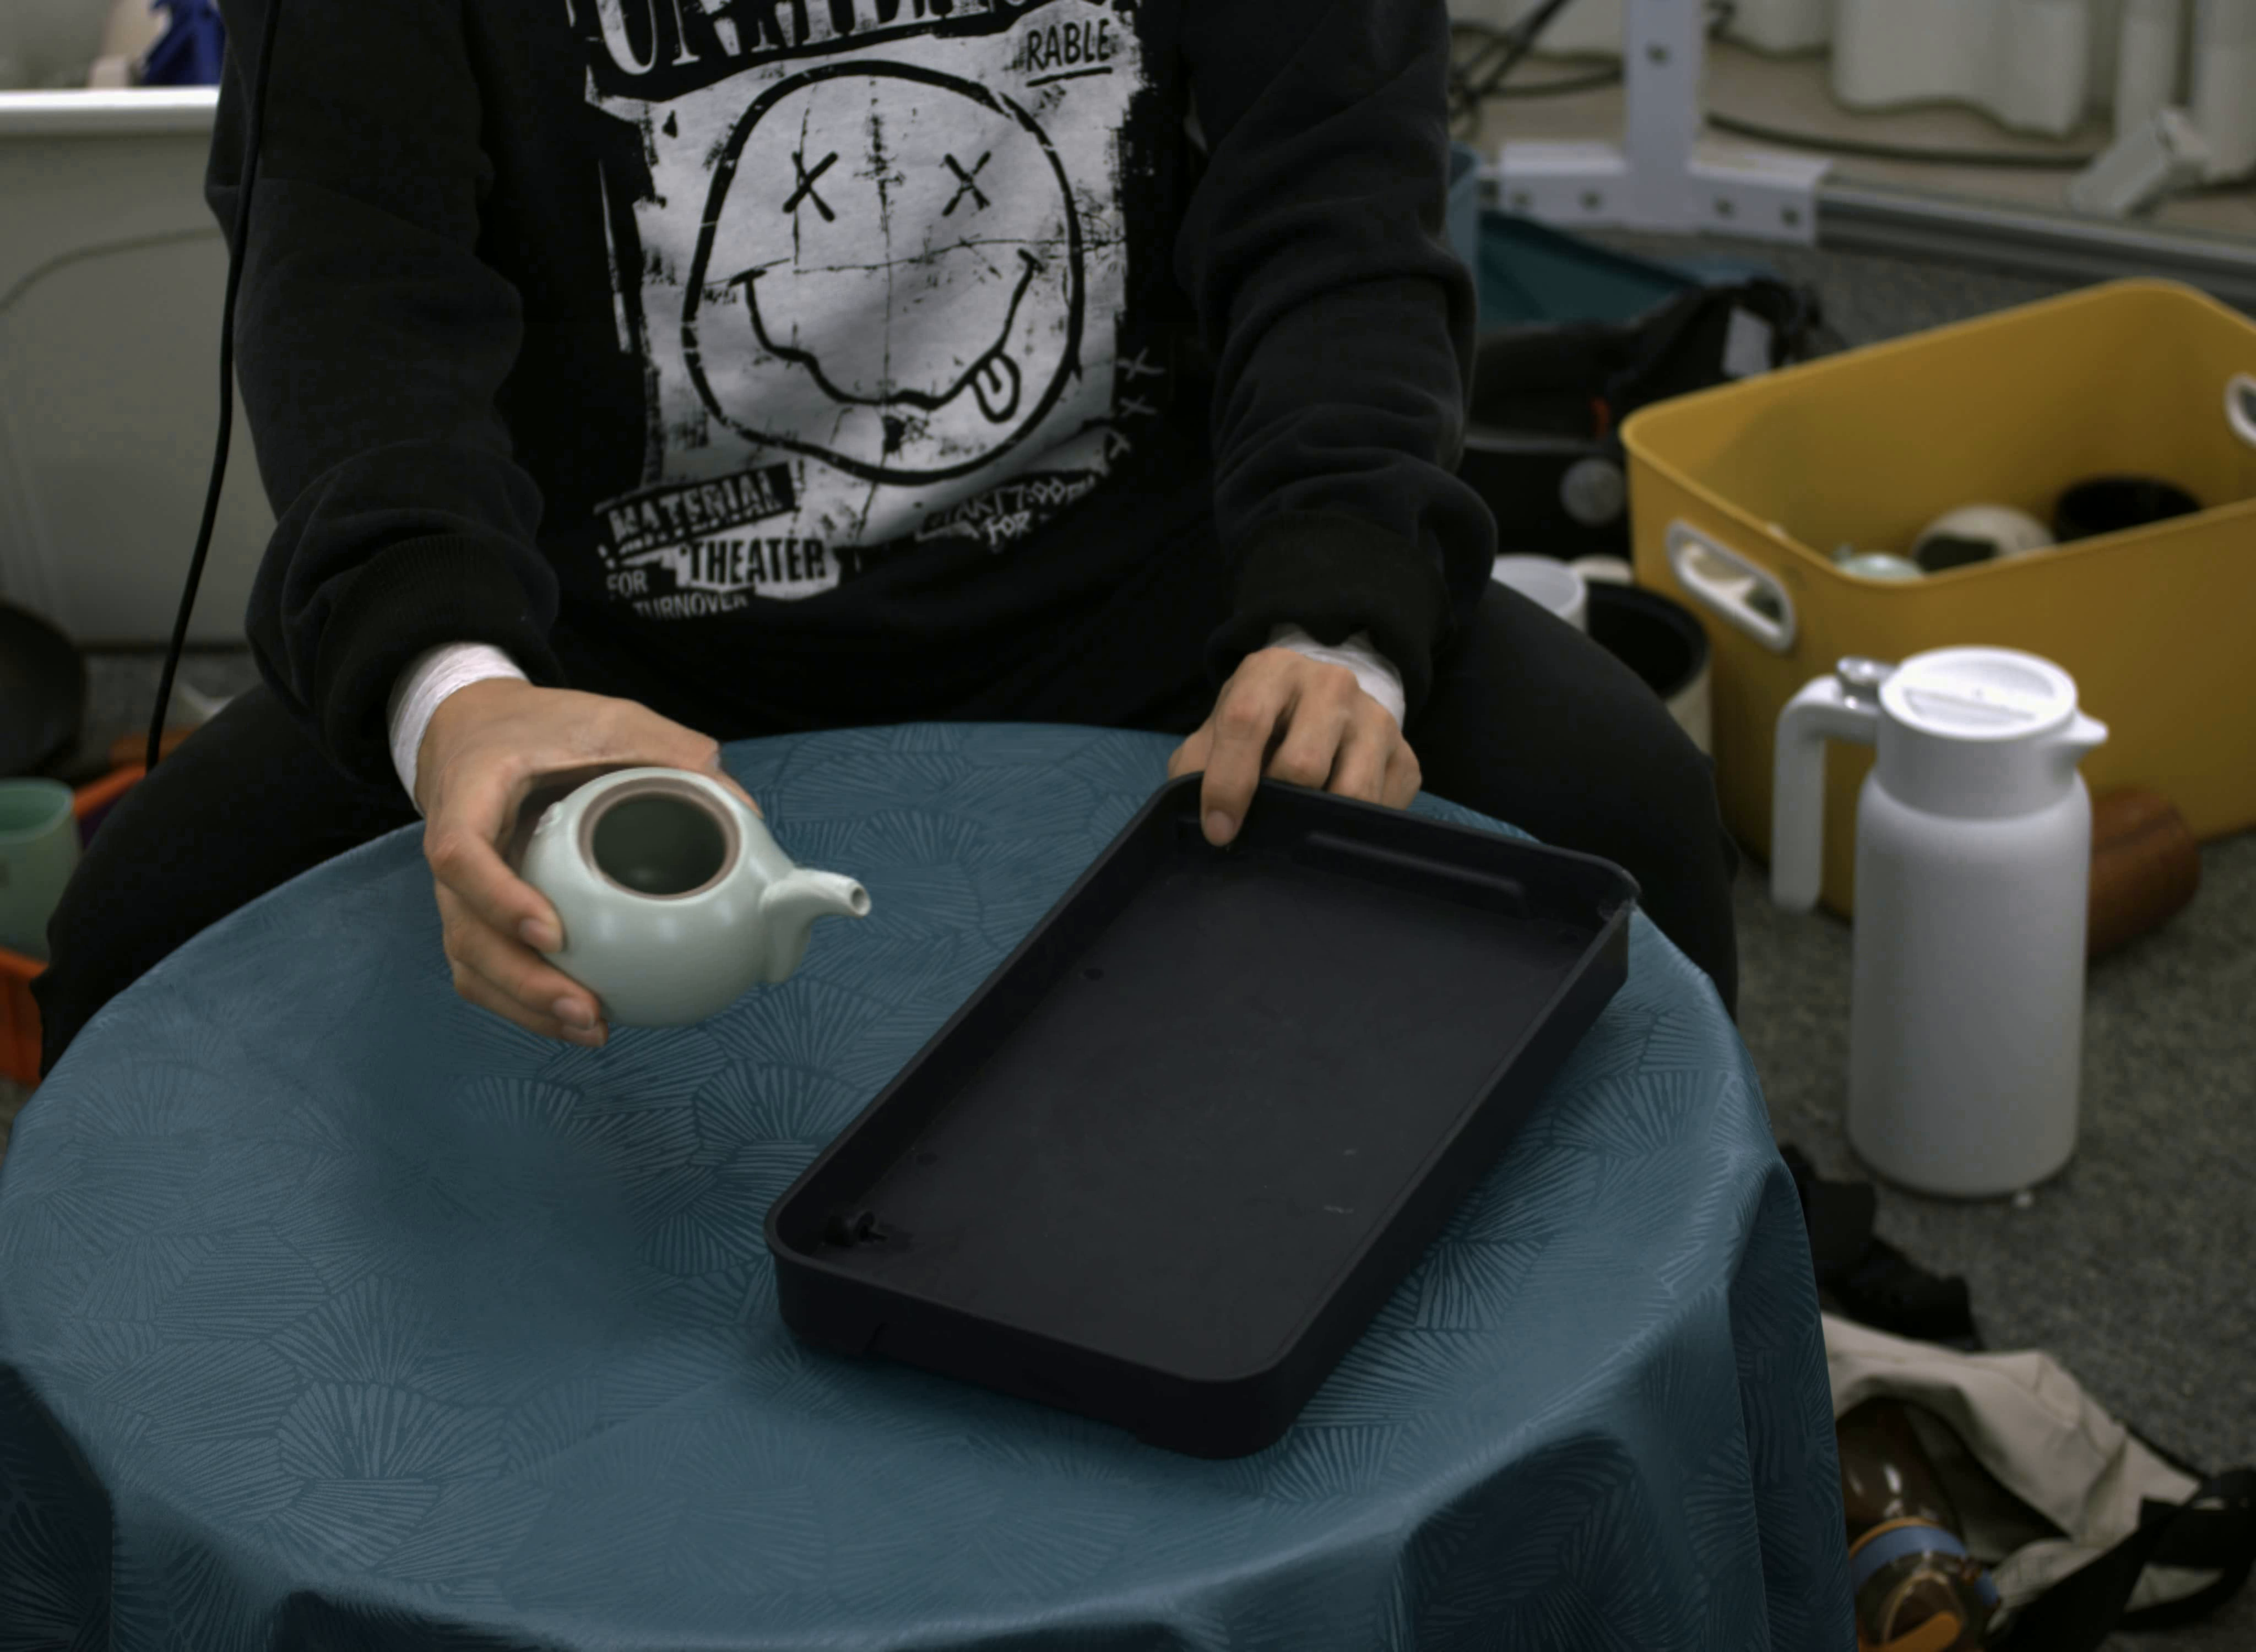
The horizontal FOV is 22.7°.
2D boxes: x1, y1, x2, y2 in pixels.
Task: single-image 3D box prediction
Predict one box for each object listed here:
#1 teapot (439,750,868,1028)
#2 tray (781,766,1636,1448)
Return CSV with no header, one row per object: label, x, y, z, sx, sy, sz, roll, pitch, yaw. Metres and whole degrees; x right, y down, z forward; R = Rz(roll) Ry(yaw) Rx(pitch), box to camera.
teapot,-0.156,0.023,1.825,0.143,0.073,0.090,20,46,5
tray,0.033,0.085,1.859,0.183,0.036,0.324,12,34,22
